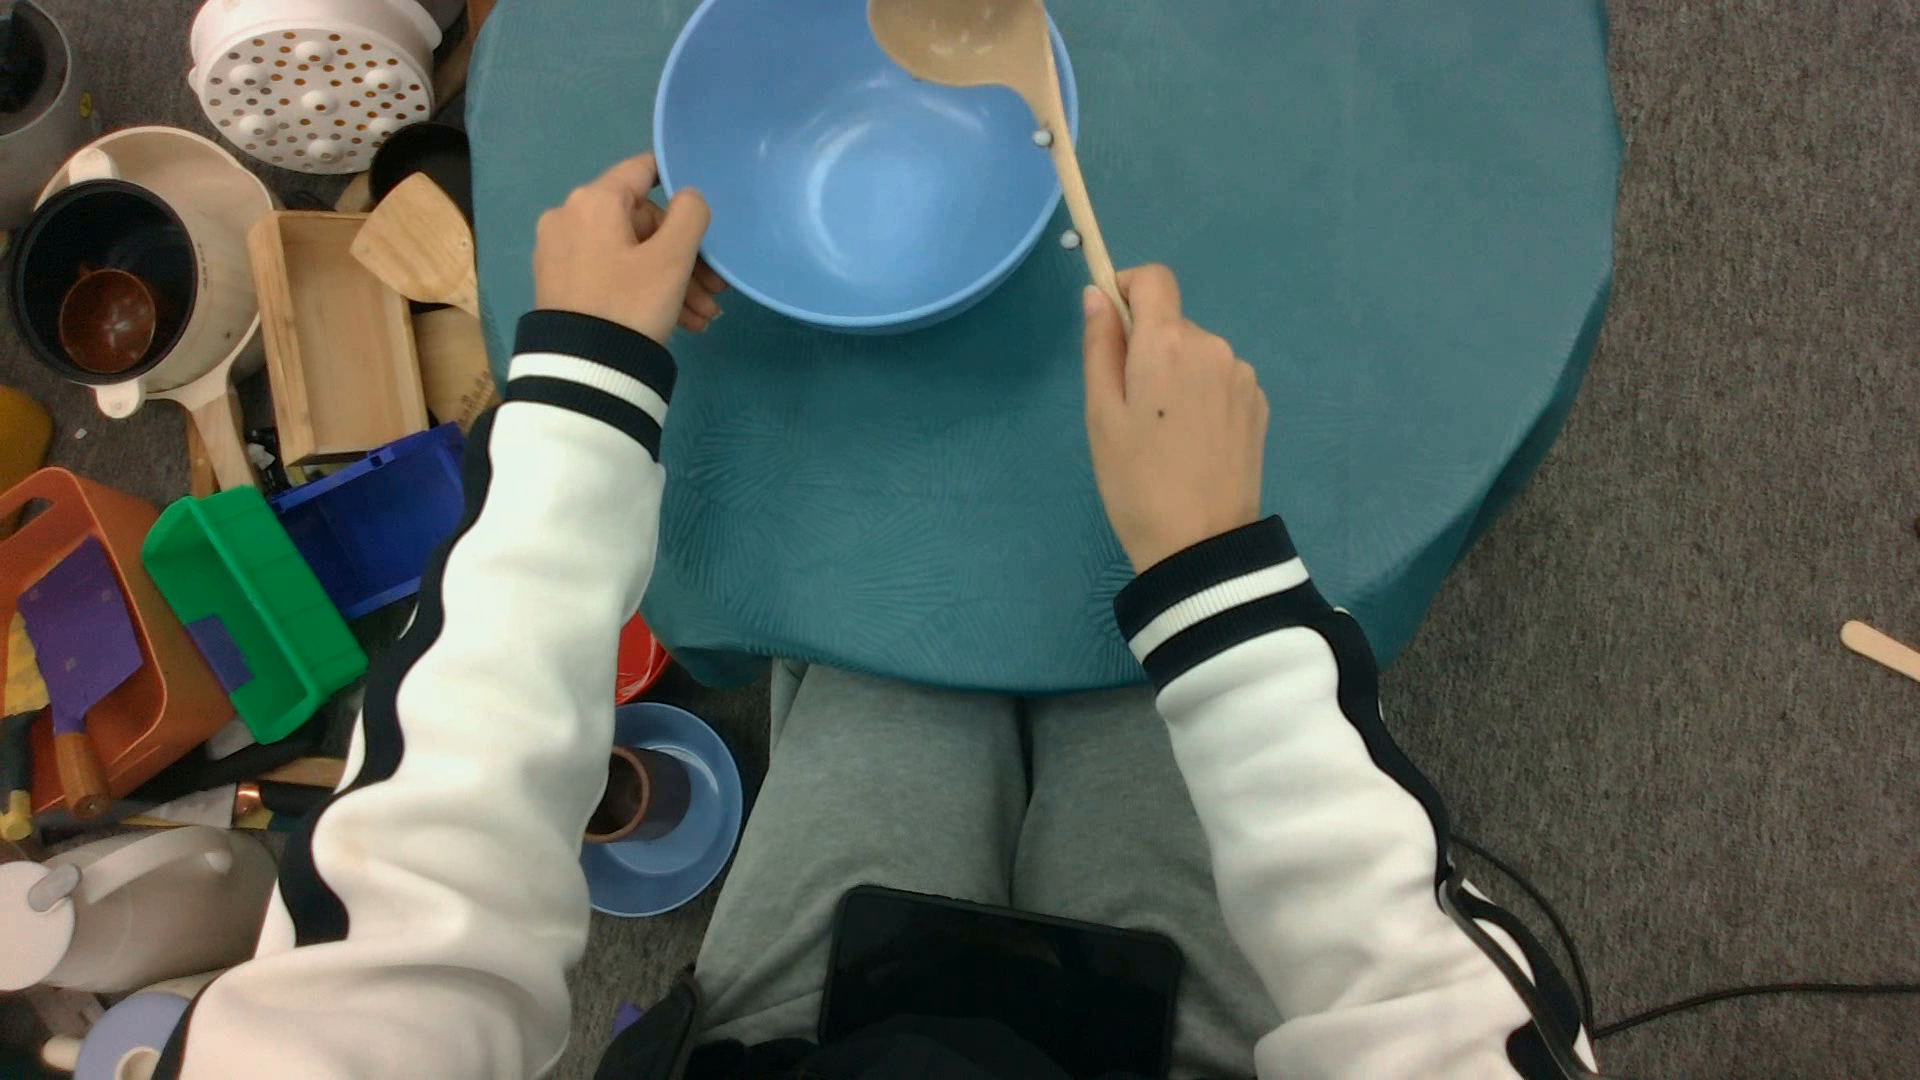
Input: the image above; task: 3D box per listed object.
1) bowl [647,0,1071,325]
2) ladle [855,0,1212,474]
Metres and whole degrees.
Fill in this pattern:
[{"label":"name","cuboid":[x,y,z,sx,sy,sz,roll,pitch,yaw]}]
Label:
[{"label":"bowl","cuboid":[-0.044,-0.188,0.676,0.196,0.095,0.197,-1,78,4]},{"label":"ladle","cuboid":[0.028,-0.138,0.572,0.073,0.072,0.255,-12,75,-35]}]
